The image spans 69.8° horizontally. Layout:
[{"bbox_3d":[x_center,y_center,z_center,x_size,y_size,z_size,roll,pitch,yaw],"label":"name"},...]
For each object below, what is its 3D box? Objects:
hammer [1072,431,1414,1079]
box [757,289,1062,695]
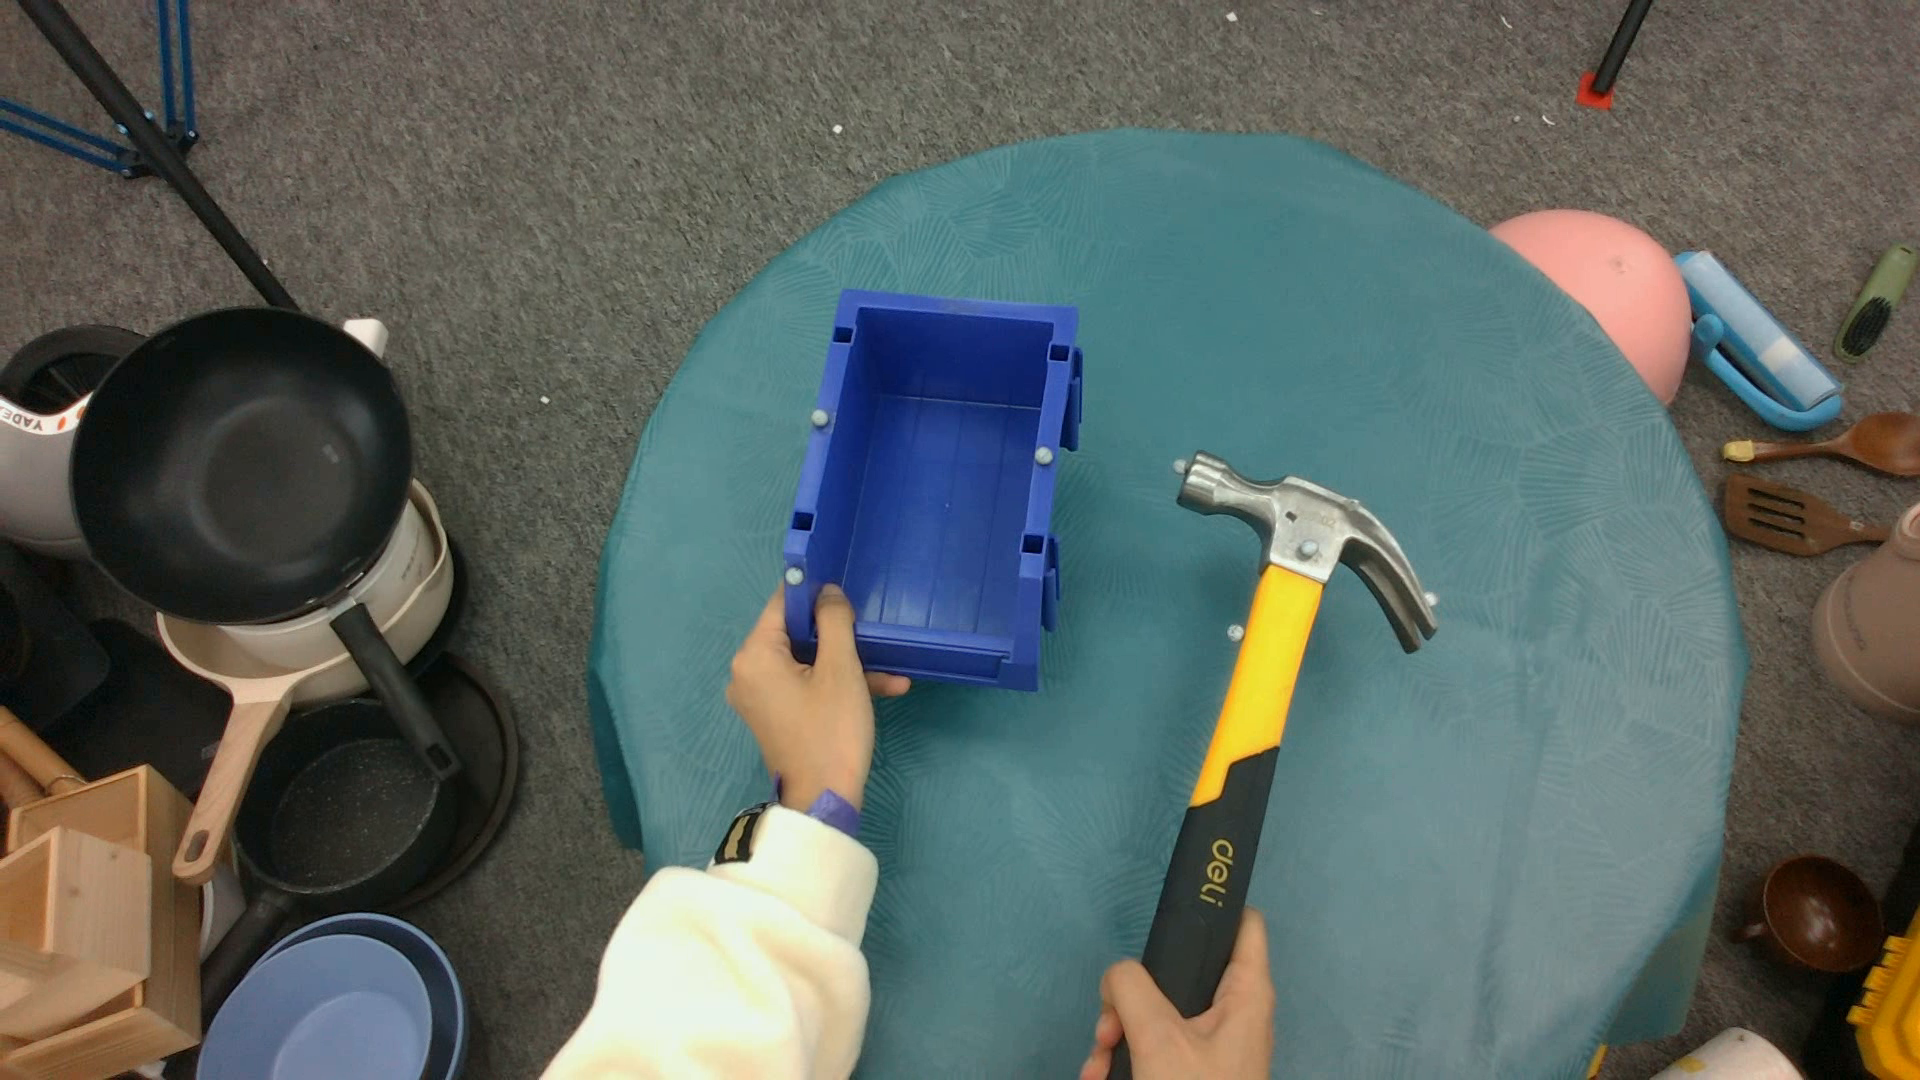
[{"bbox_3d":[0.109,0.109,0.606,0.131,0.032,0.340,22,63,3],"label":"hammer"},{"bbox_3d":[-0.020,-0.022,0.672,0.124,0.081,0.180,6,62,6],"label":"box"}]
